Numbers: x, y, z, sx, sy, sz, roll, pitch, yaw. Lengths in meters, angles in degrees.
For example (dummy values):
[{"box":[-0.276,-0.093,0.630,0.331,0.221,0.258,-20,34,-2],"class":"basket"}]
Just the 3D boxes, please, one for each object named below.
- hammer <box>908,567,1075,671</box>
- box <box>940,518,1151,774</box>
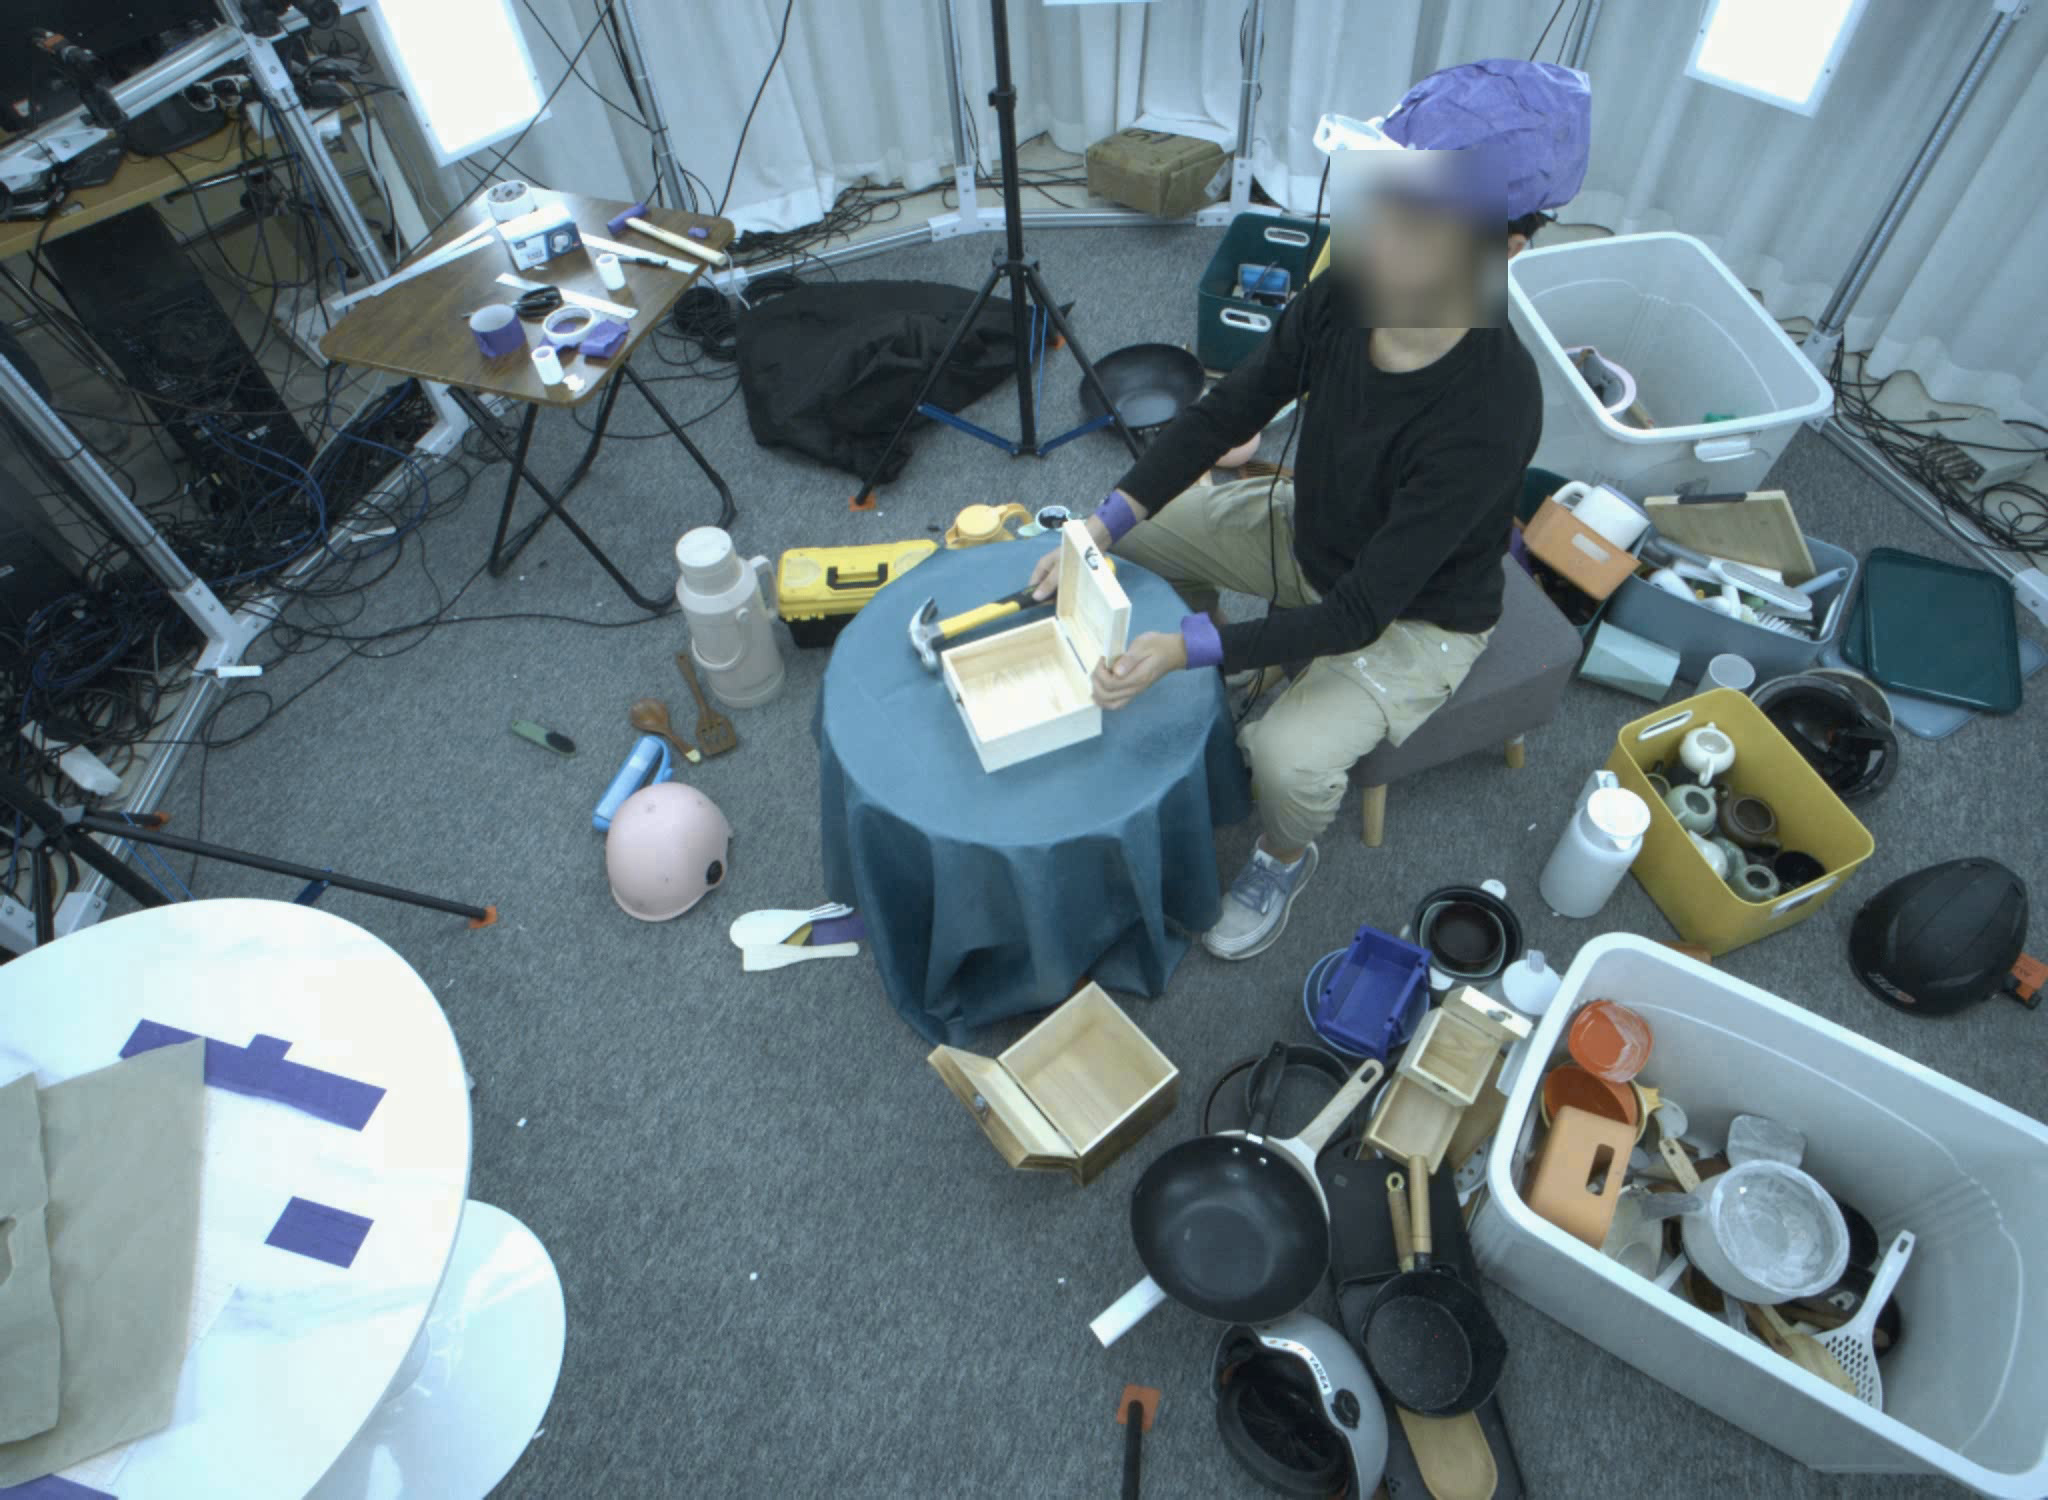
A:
[{"box":[-0.019,-0.231,1.901,0.339,0.033,0.129,-22,48,-5],"class":"hammer"},{"box":[0.021,-0.145,1.733,0.267,0.256,0.178,-20,54,-11],"class":"box"}]
